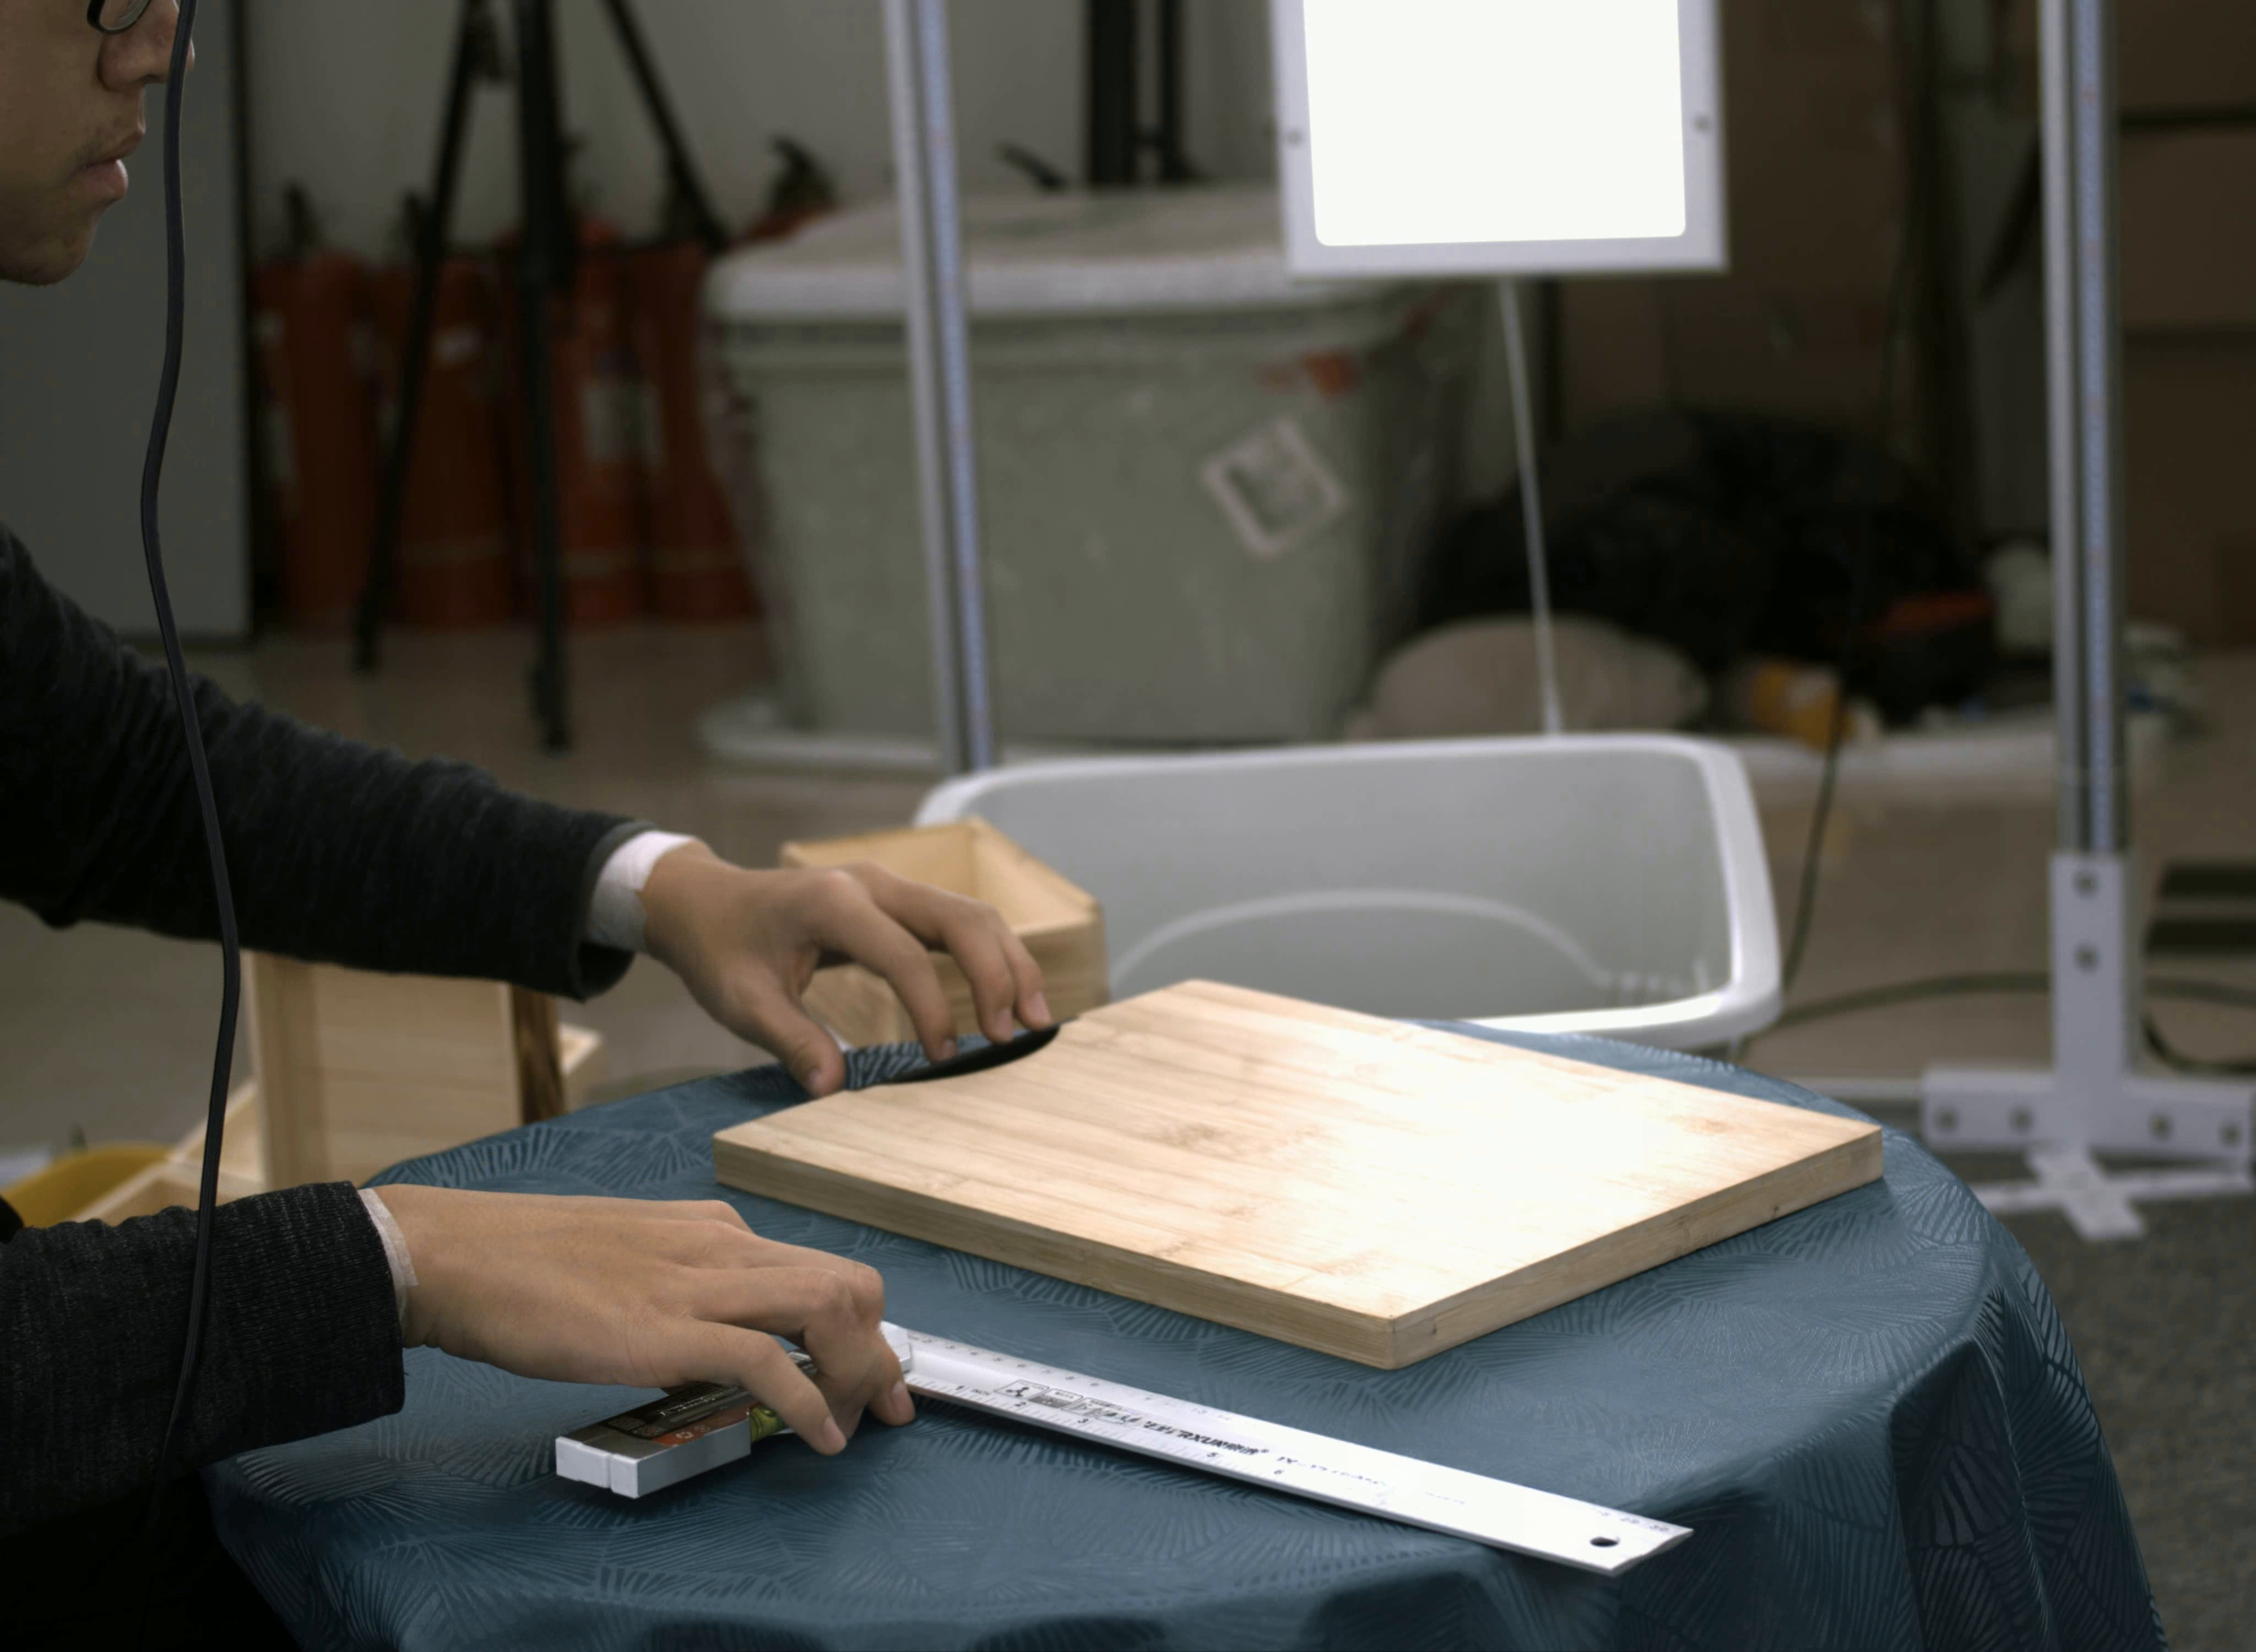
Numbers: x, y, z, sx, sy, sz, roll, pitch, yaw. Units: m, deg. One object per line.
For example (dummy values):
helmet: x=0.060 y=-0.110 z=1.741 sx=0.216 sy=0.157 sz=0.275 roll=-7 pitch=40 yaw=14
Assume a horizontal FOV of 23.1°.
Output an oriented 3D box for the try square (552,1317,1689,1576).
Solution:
try square: x=-0.007 y=0.195 z=1.600 sx=0.319 sy=0.016 sz=0.148 roll=9 pitch=20 yaw=41

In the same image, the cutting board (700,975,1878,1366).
cutting board: x=0.051 y=0.113 z=1.900 sx=0.244 sy=0.023 sz=0.356 roll=-17 pitch=18 yaw=-40
